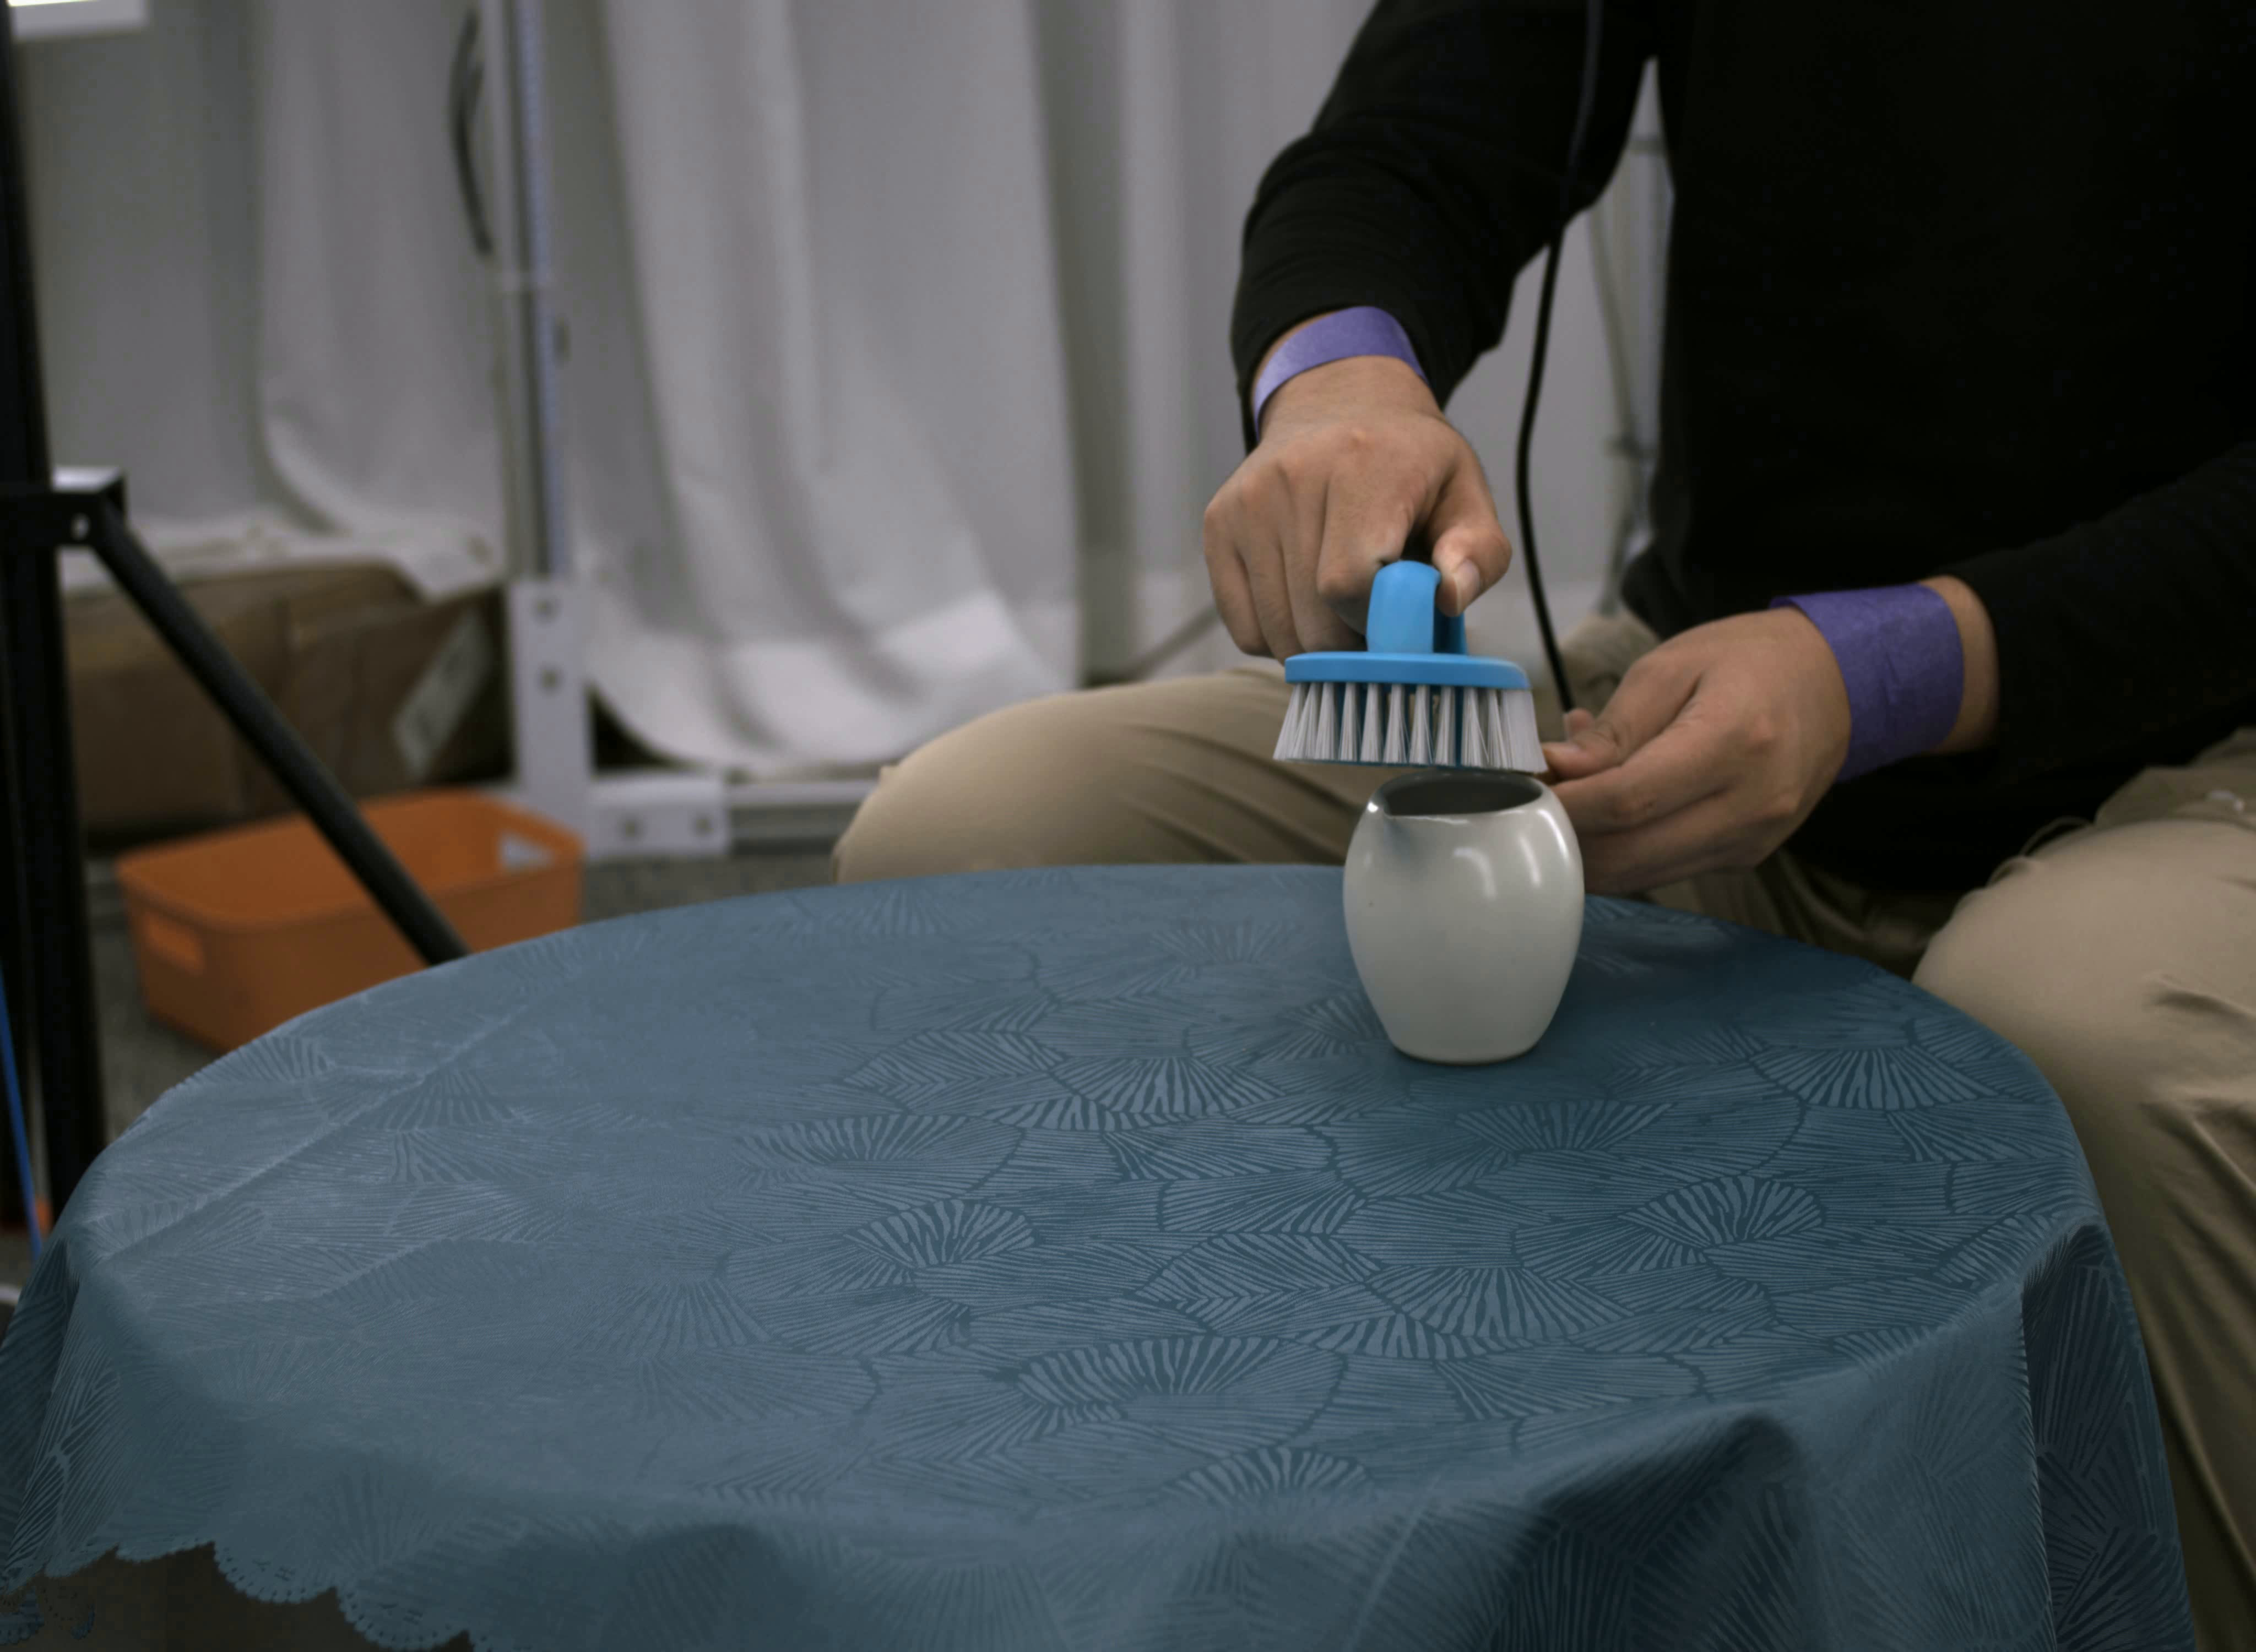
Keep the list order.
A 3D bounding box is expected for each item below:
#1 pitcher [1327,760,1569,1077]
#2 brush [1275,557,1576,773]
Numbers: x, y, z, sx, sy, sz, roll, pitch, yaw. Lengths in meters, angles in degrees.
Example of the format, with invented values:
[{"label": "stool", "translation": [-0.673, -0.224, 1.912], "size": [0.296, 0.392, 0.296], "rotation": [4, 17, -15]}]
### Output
[{"label": "pitcher", "translation": [0.104, 0.028, 1.665], "size": [0.077, 0.088, 0.117], "rotation": [14, 25, 31]}, {"label": "brush", "translation": [0.093, -0.050, 1.657], "size": [0.085, 0.064, 0.140], "rotation": [-2, -2, 14]}]
